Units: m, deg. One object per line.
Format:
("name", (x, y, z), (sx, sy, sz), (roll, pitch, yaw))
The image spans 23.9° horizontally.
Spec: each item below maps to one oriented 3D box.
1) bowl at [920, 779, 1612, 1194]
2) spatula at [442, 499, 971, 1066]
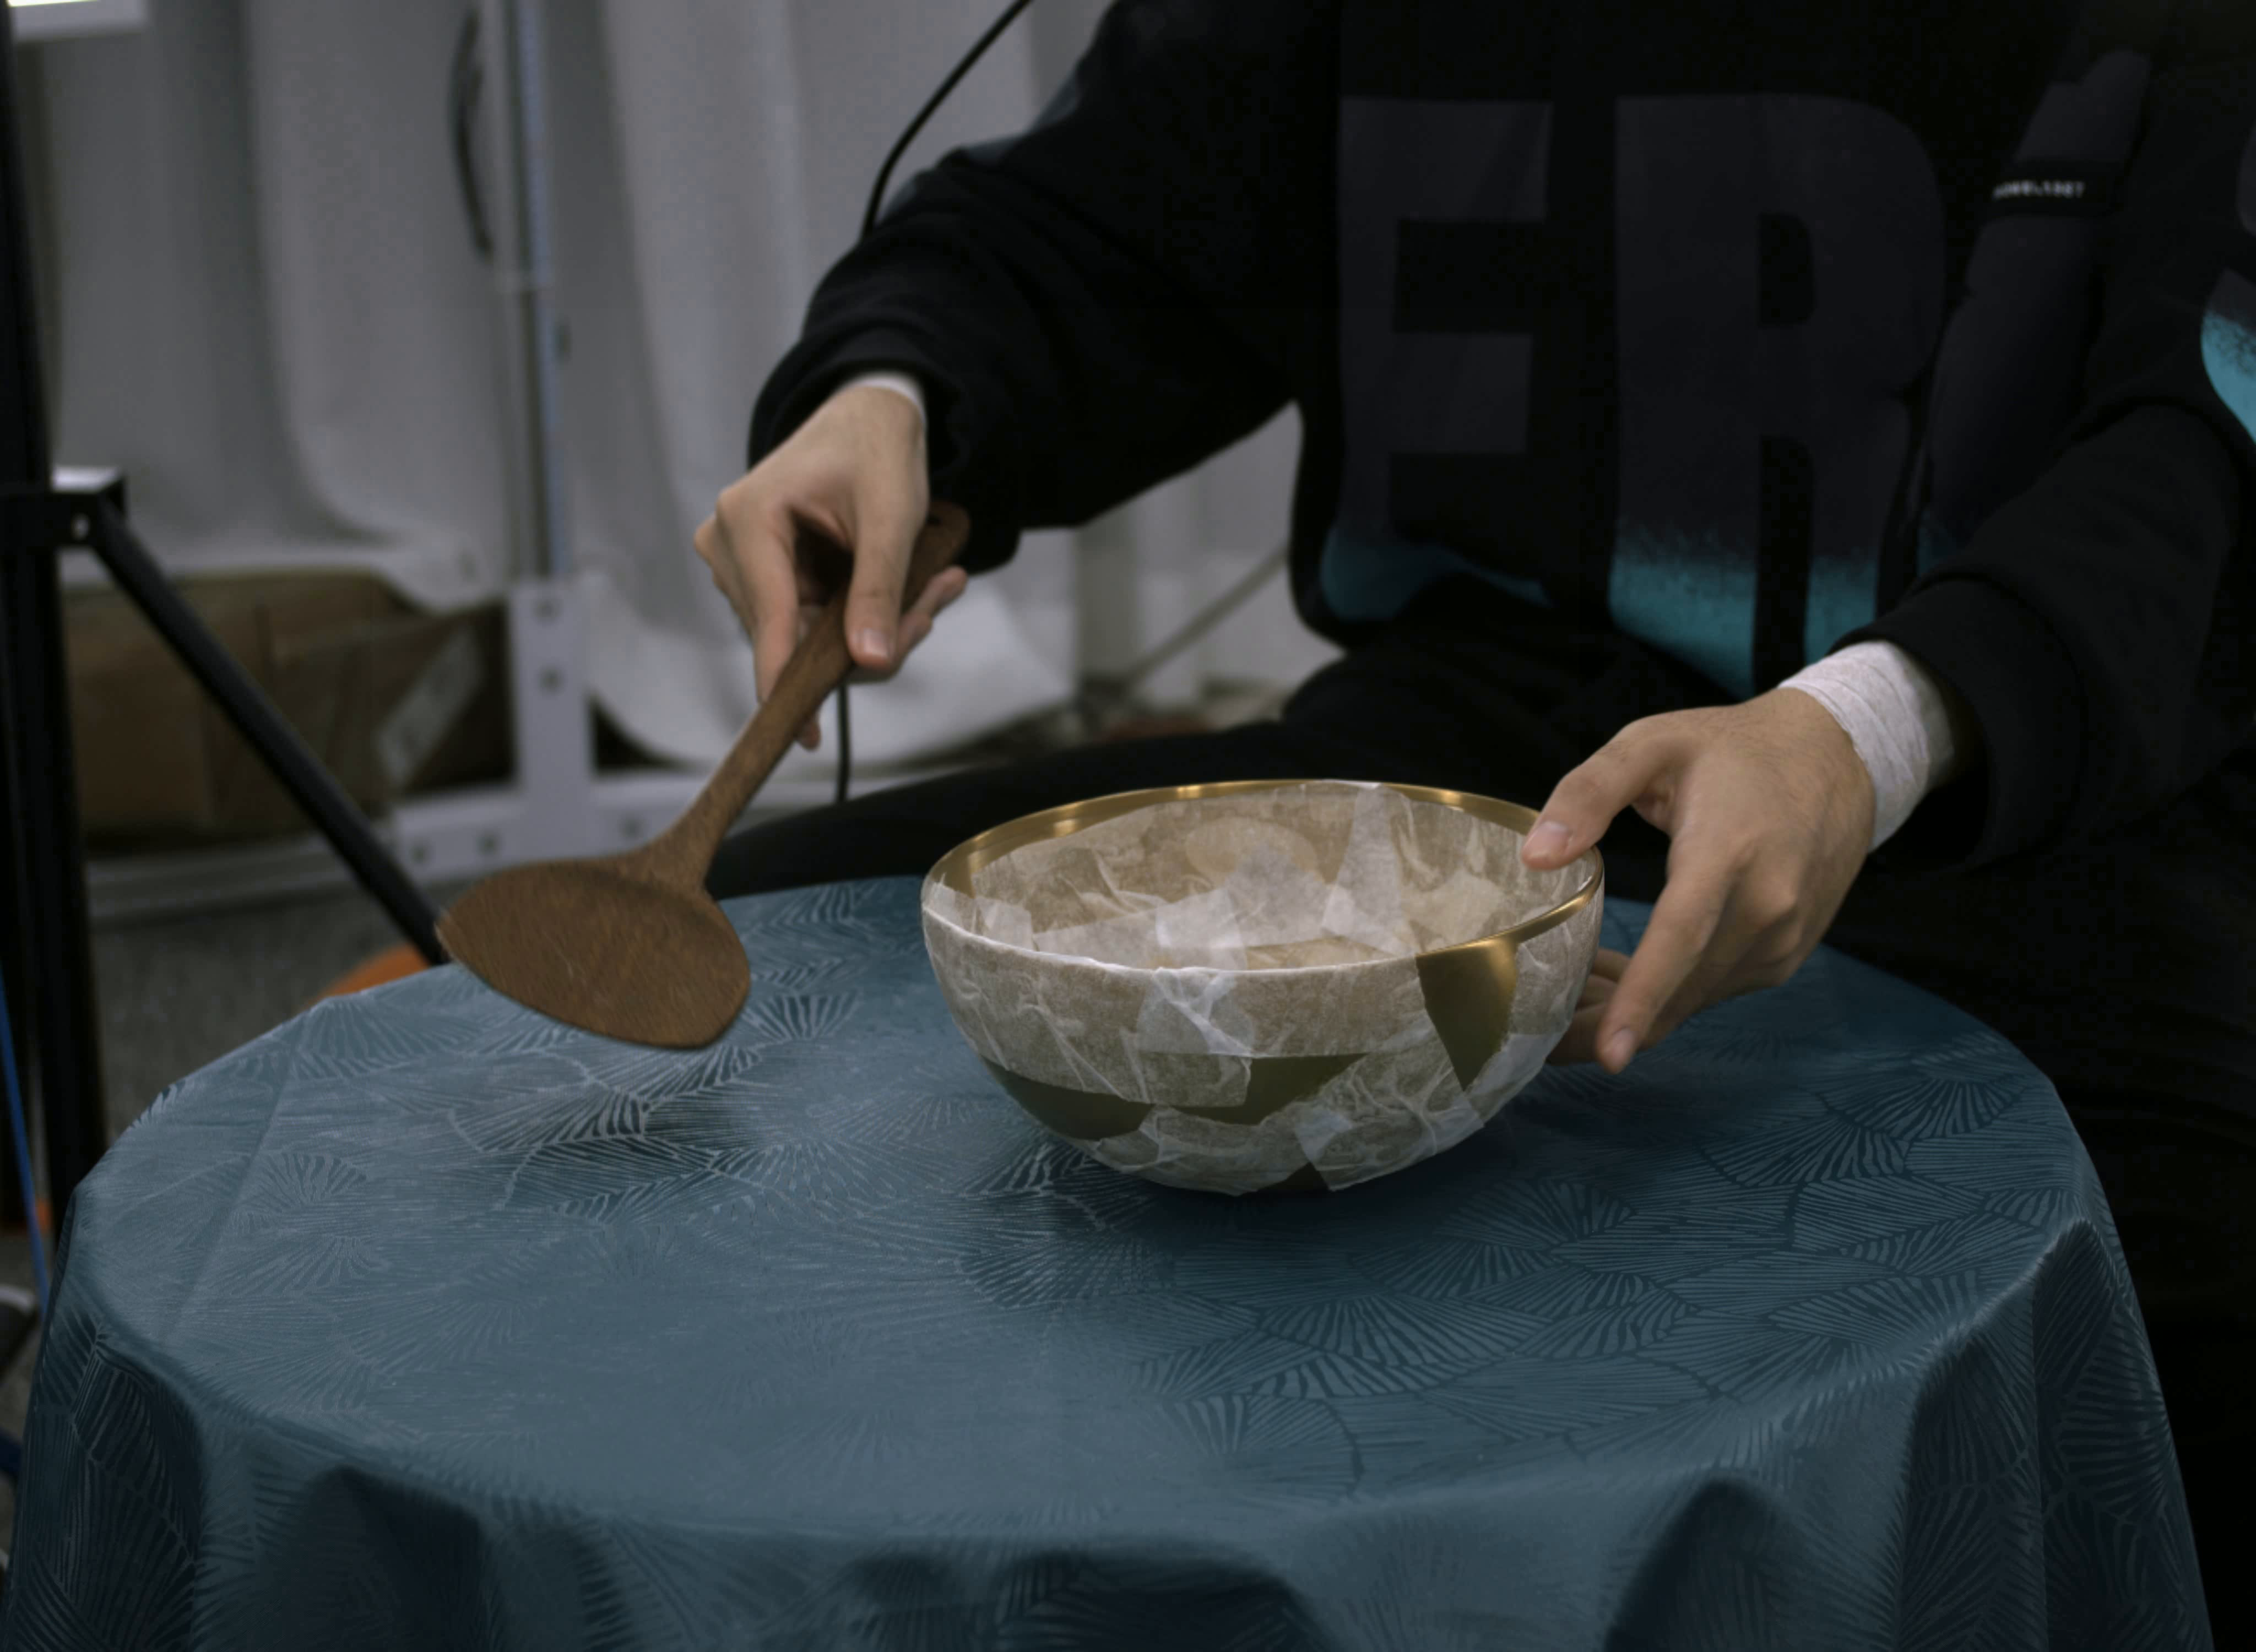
("bowl", (0.044, 0.054, 1.568), (0.213, 0.094, 0.216), (-4, 14, -1))
("spatula", (-0.118, -0.026, 1.751), (0.096, 0.016, 0.384), (20, 32, 7))
